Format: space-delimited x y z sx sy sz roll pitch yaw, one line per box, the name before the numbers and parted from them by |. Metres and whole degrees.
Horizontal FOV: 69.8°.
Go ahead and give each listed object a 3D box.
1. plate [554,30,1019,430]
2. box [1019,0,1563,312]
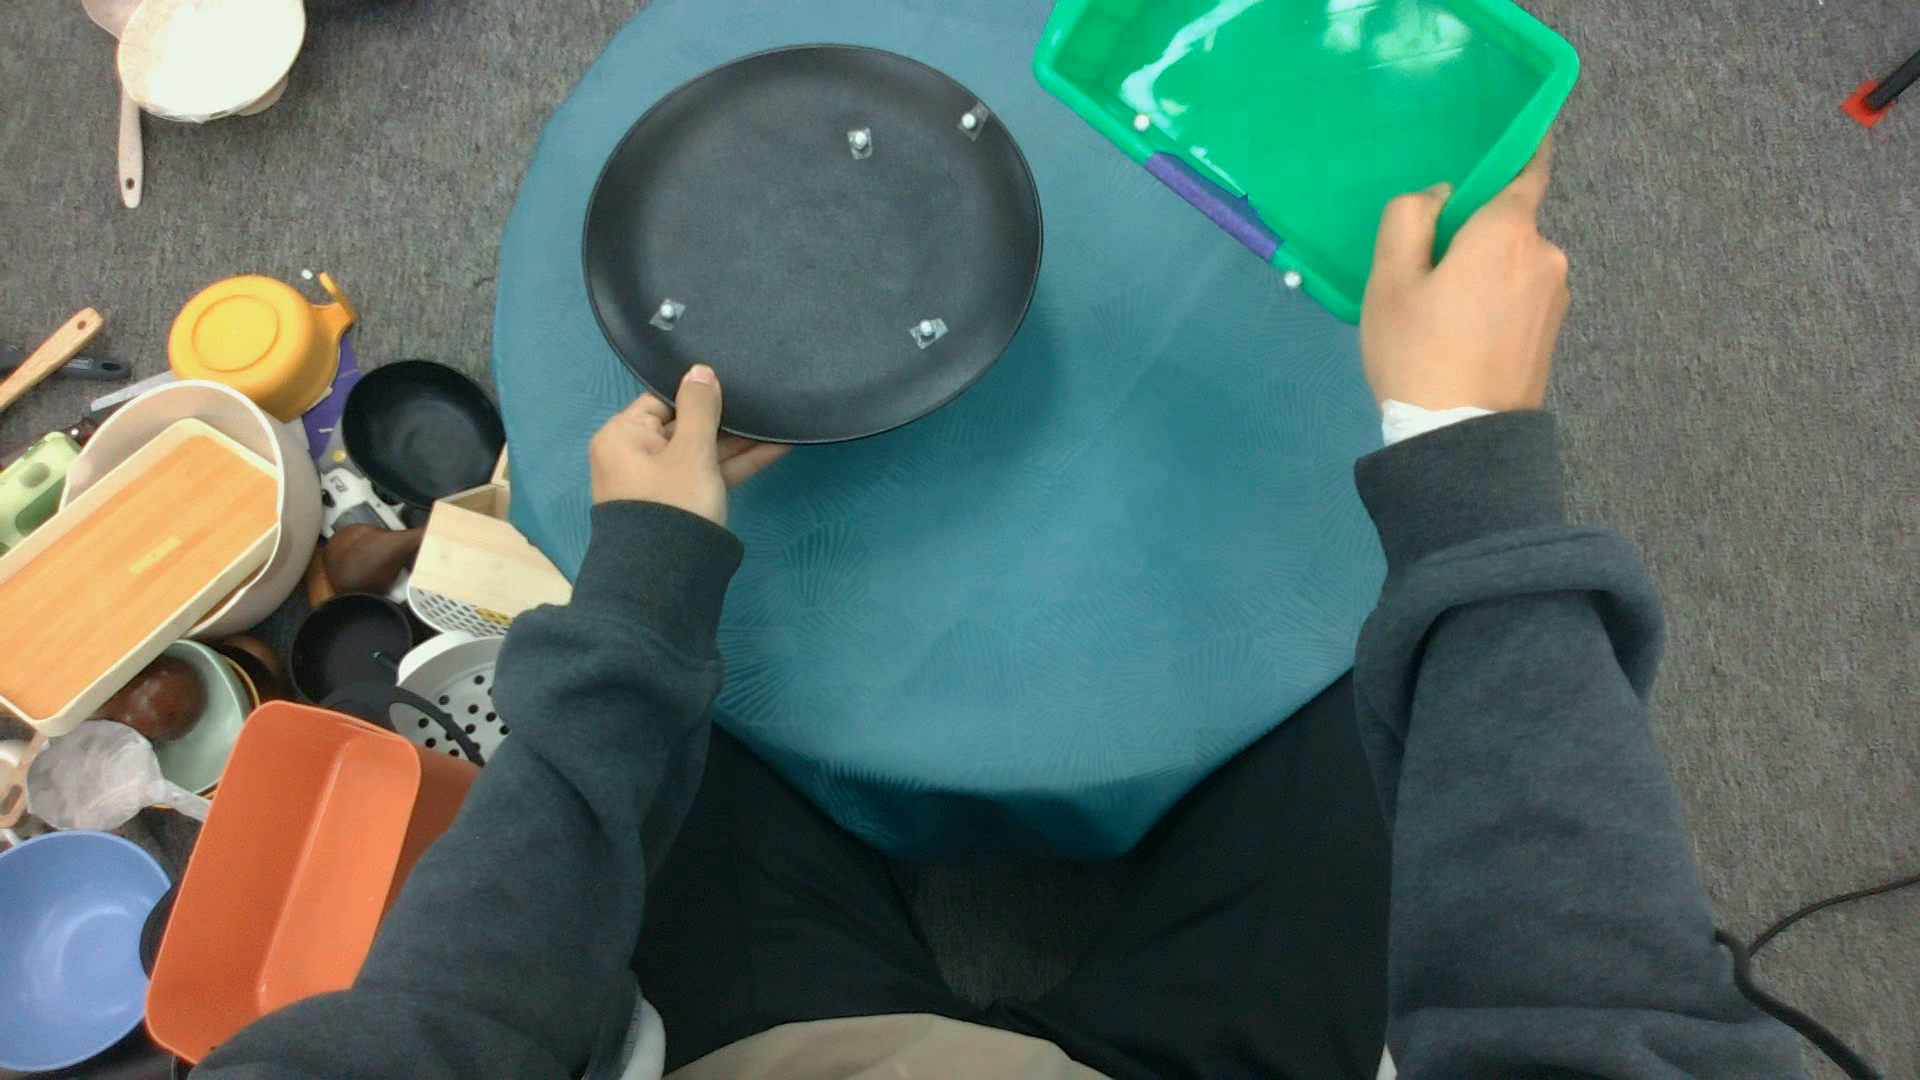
plate | -0.091 -0.166 0.734 0.244 0.023 0.245 0 70 -1
box | 0.146 -0.216 0.621 0.210 0.065 0.138 40 113 9
